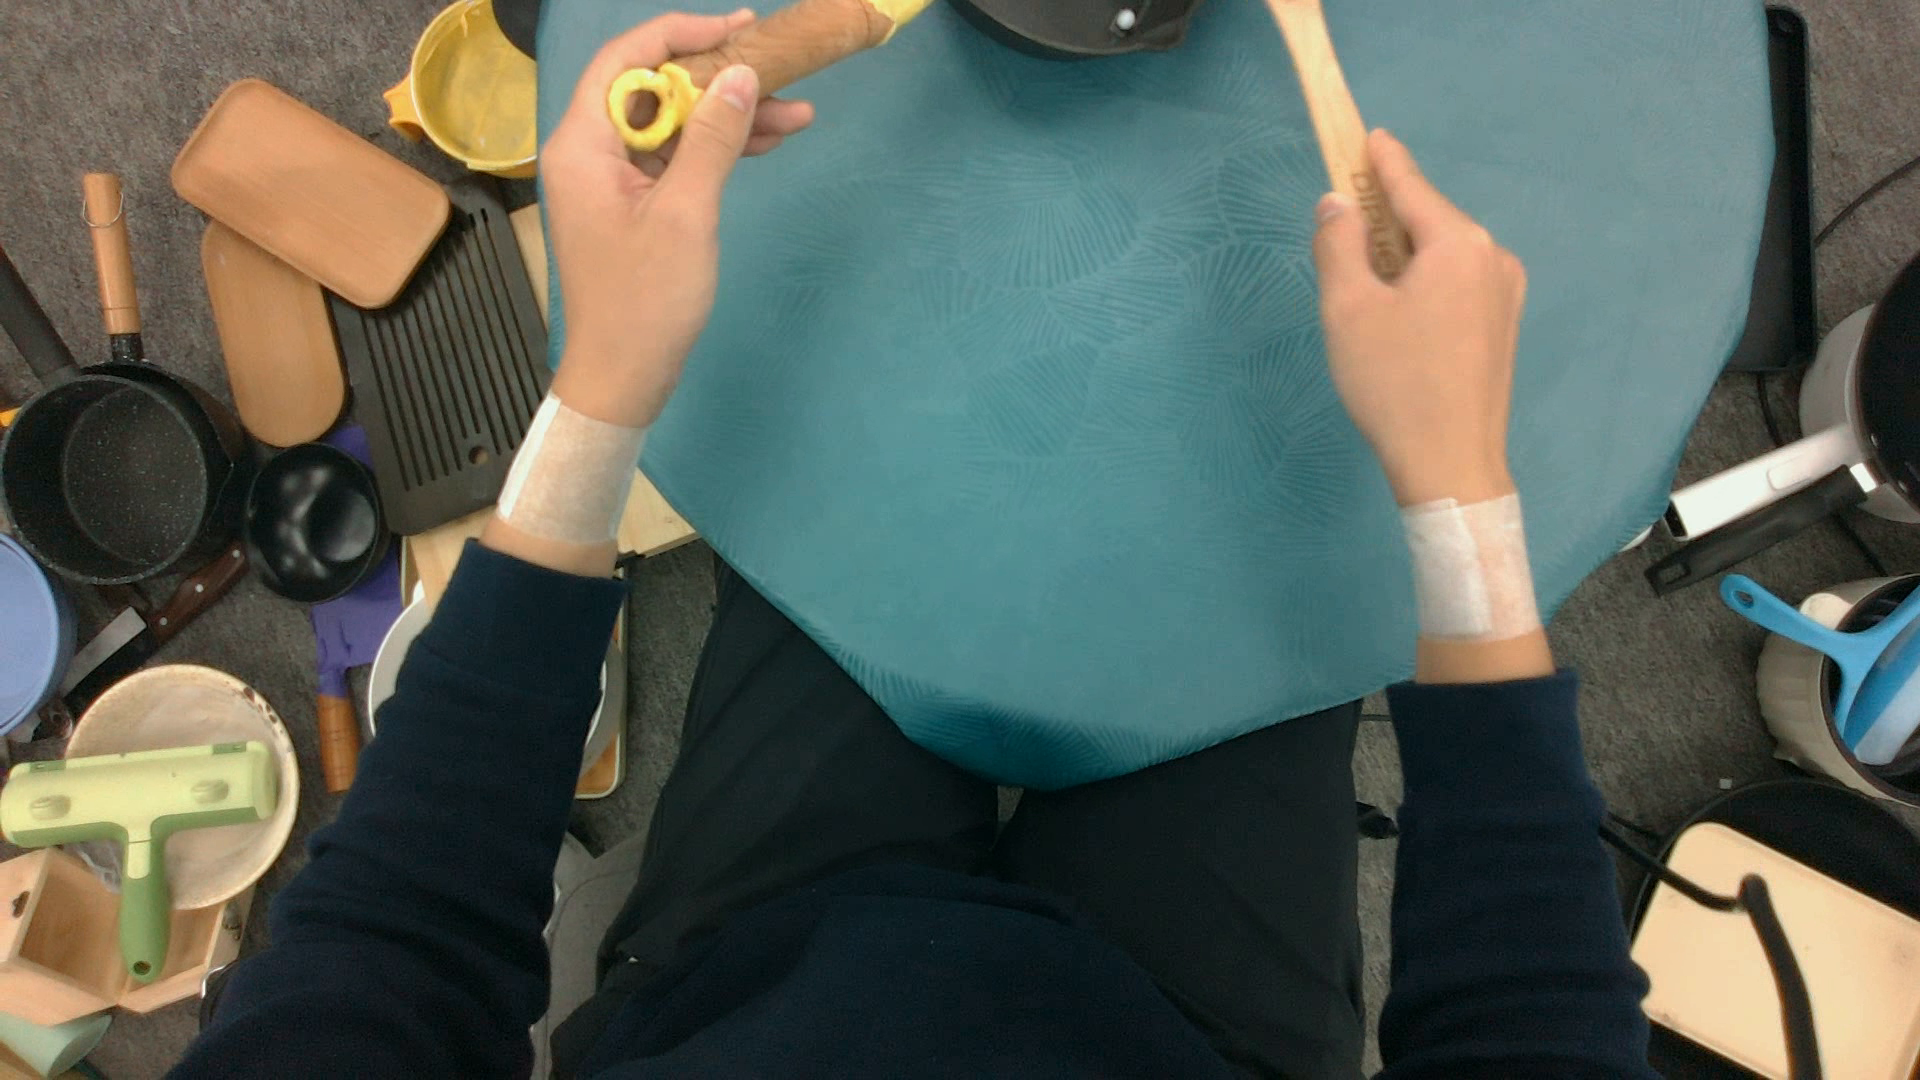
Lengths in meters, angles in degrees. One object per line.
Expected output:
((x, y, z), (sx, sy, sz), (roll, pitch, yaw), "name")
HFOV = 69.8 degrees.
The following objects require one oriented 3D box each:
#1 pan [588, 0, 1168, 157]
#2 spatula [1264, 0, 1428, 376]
((-0.030, -0.242, 0.591), (0.325, 0.049, 0.169), (-39, 91, -27), "pan")
((0.144, -0.224, 0.587), (0.080, 0.016, 0.328), (-10, 78, -23), "spatula")
